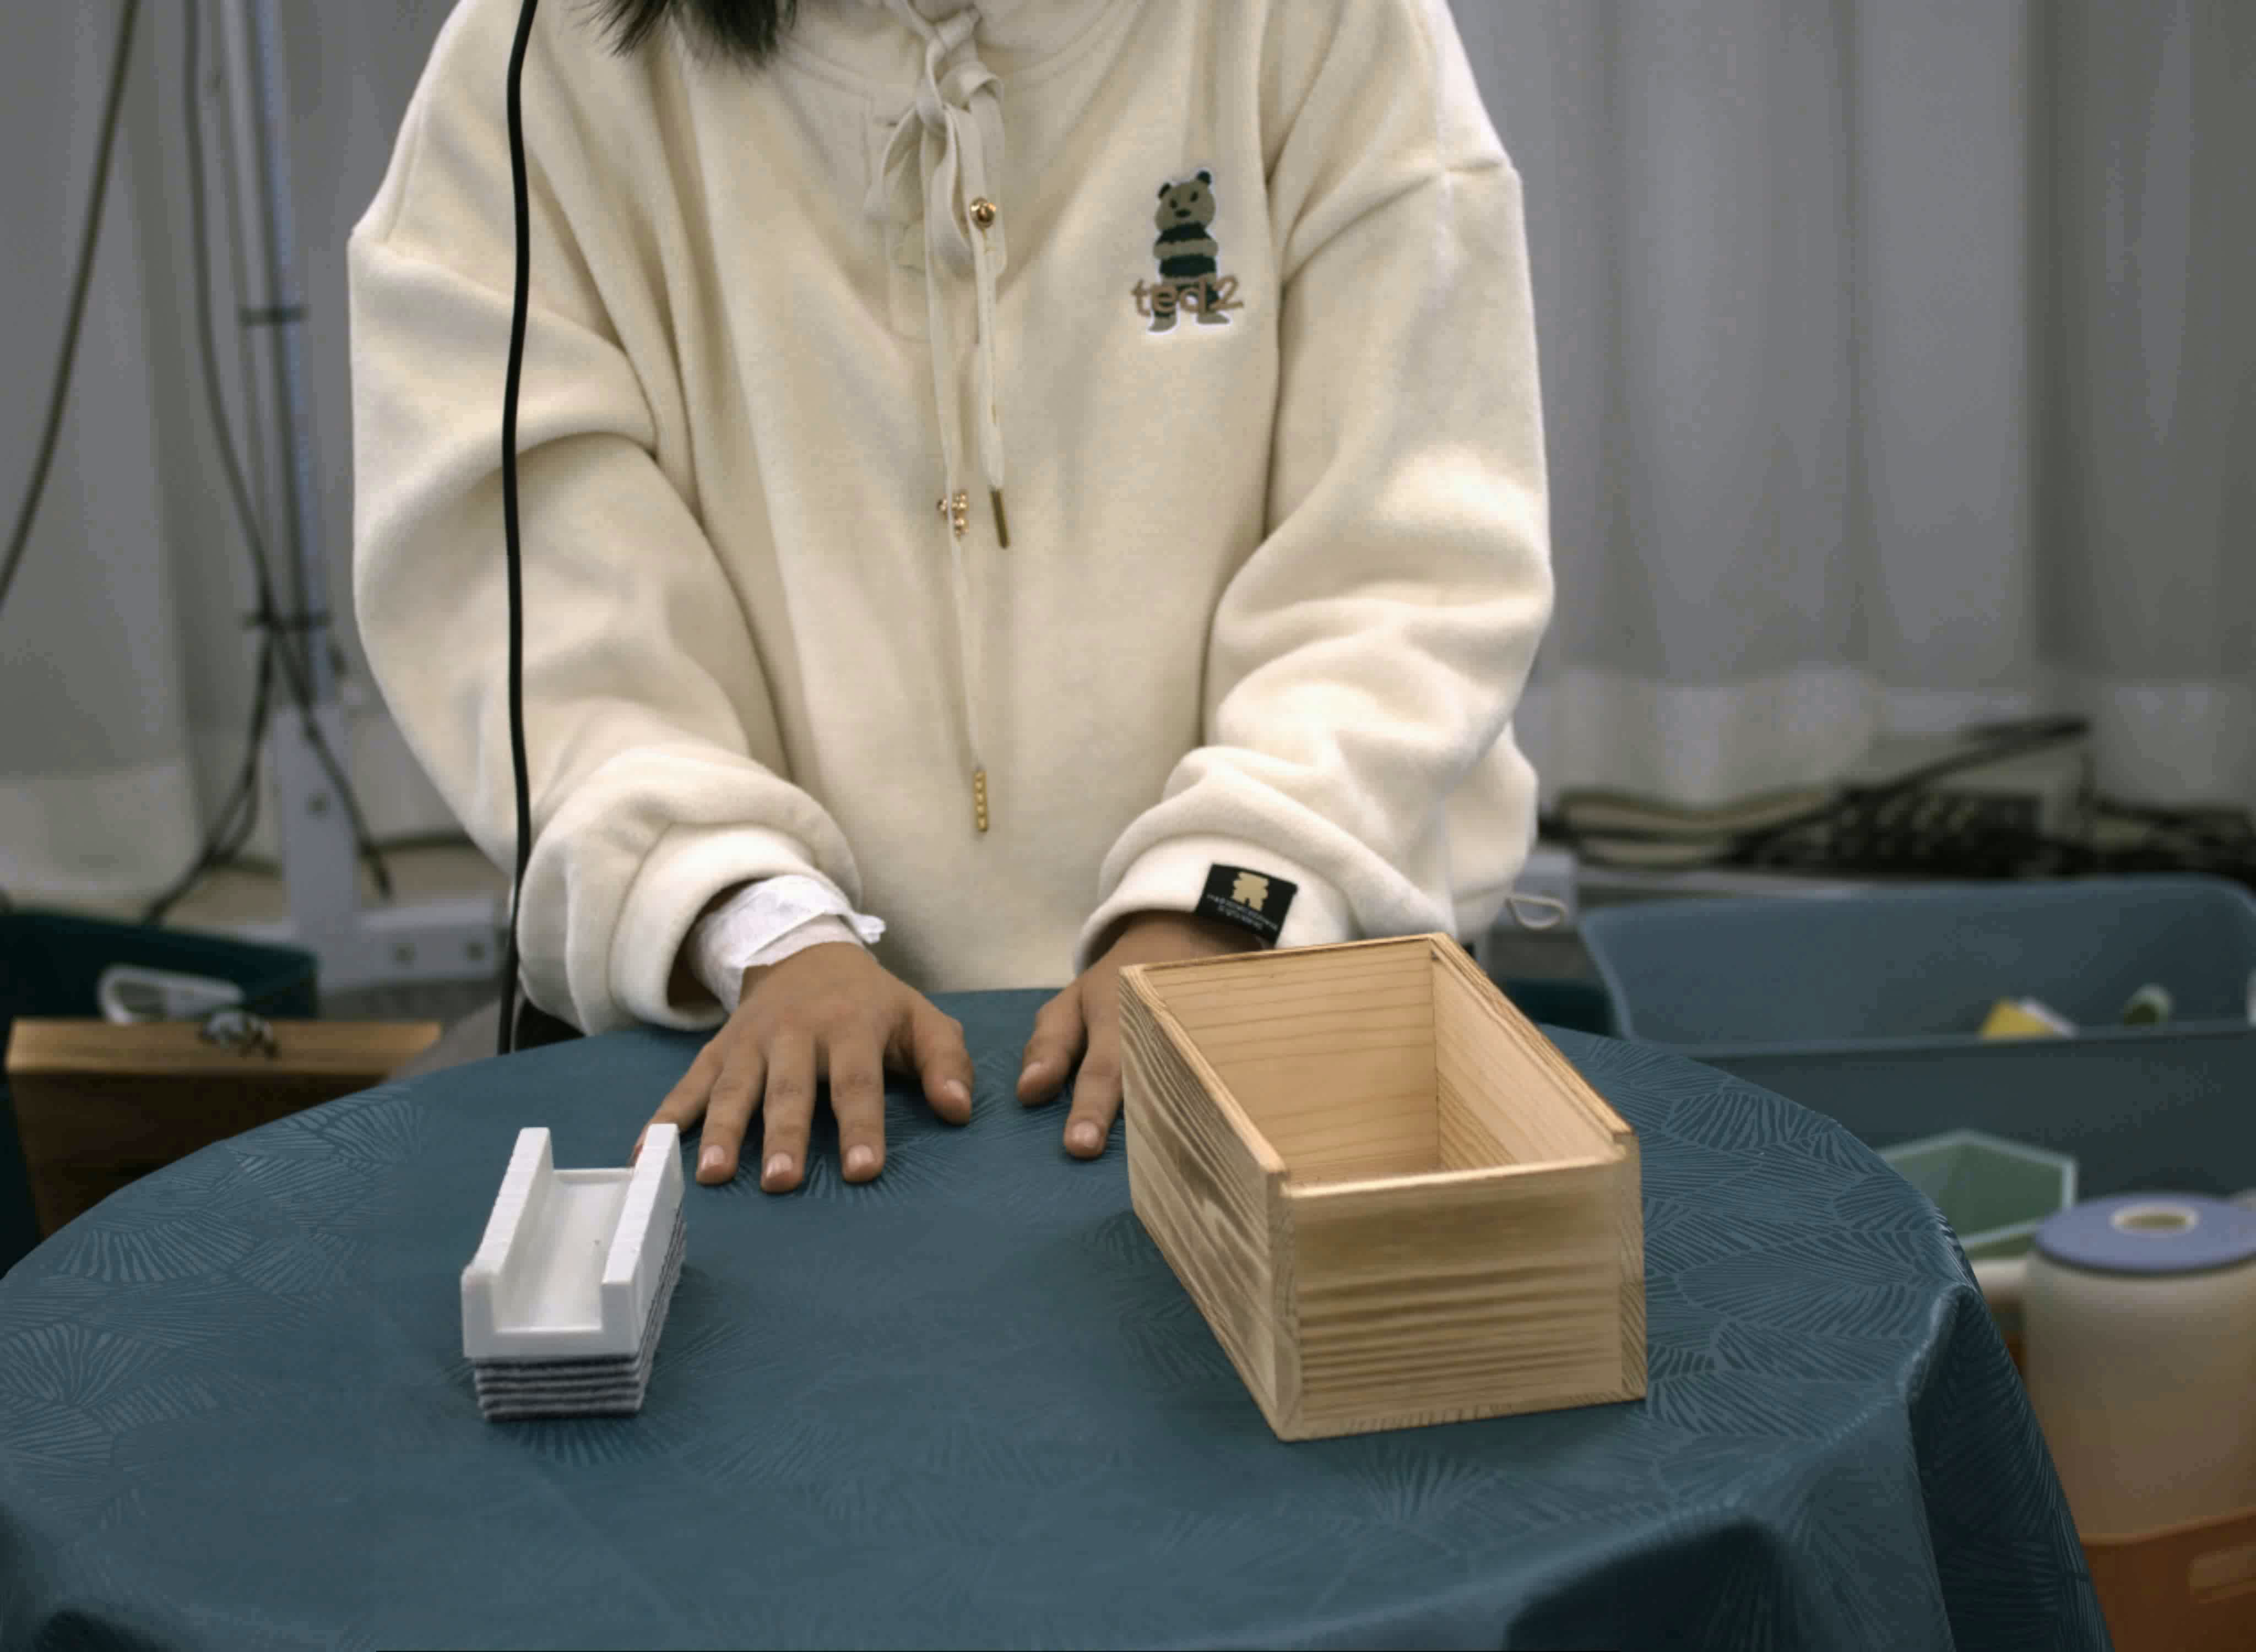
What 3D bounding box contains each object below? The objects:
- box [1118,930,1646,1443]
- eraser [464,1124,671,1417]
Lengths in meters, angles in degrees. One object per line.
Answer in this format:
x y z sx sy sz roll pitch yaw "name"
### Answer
0.070 0.101 1.599 0.107 0.080 0.213 -5 15 -11 "box"
-0.162 0.129 1.601 0.049 0.046 0.135 -5 16 0 "eraser"
